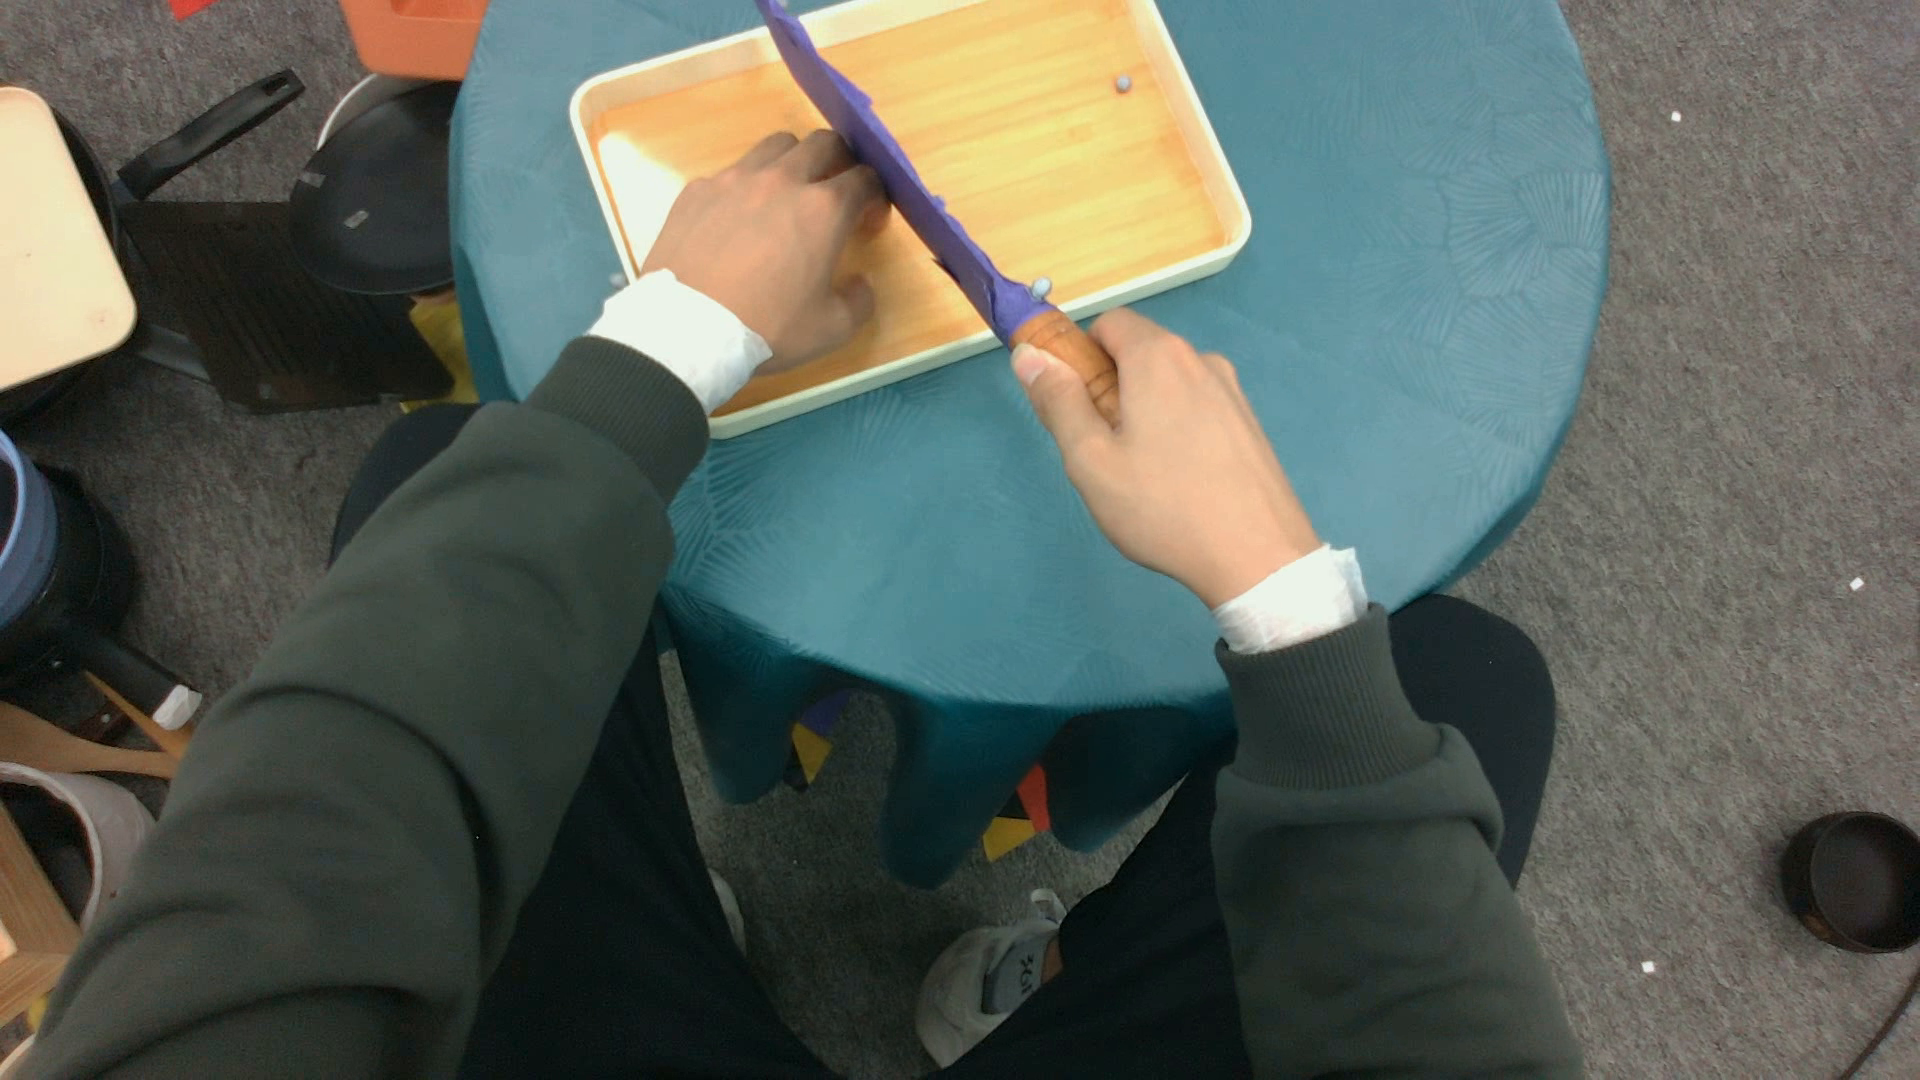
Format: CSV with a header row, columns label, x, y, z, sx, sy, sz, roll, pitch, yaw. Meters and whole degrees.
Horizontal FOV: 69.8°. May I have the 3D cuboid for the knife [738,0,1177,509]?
label,x,y,z,sx,sy,sz,roll,pitch,yaw
knife,-0.010,-0.136,0.604,0.032,0.104,0.315,-35,74,0

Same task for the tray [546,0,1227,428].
label,x,y,z,sx,sy,sz,roll,pitch,yaw
tray,-0.035,-0.186,0.691,0.301,0.027,0.192,-20,78,-11
